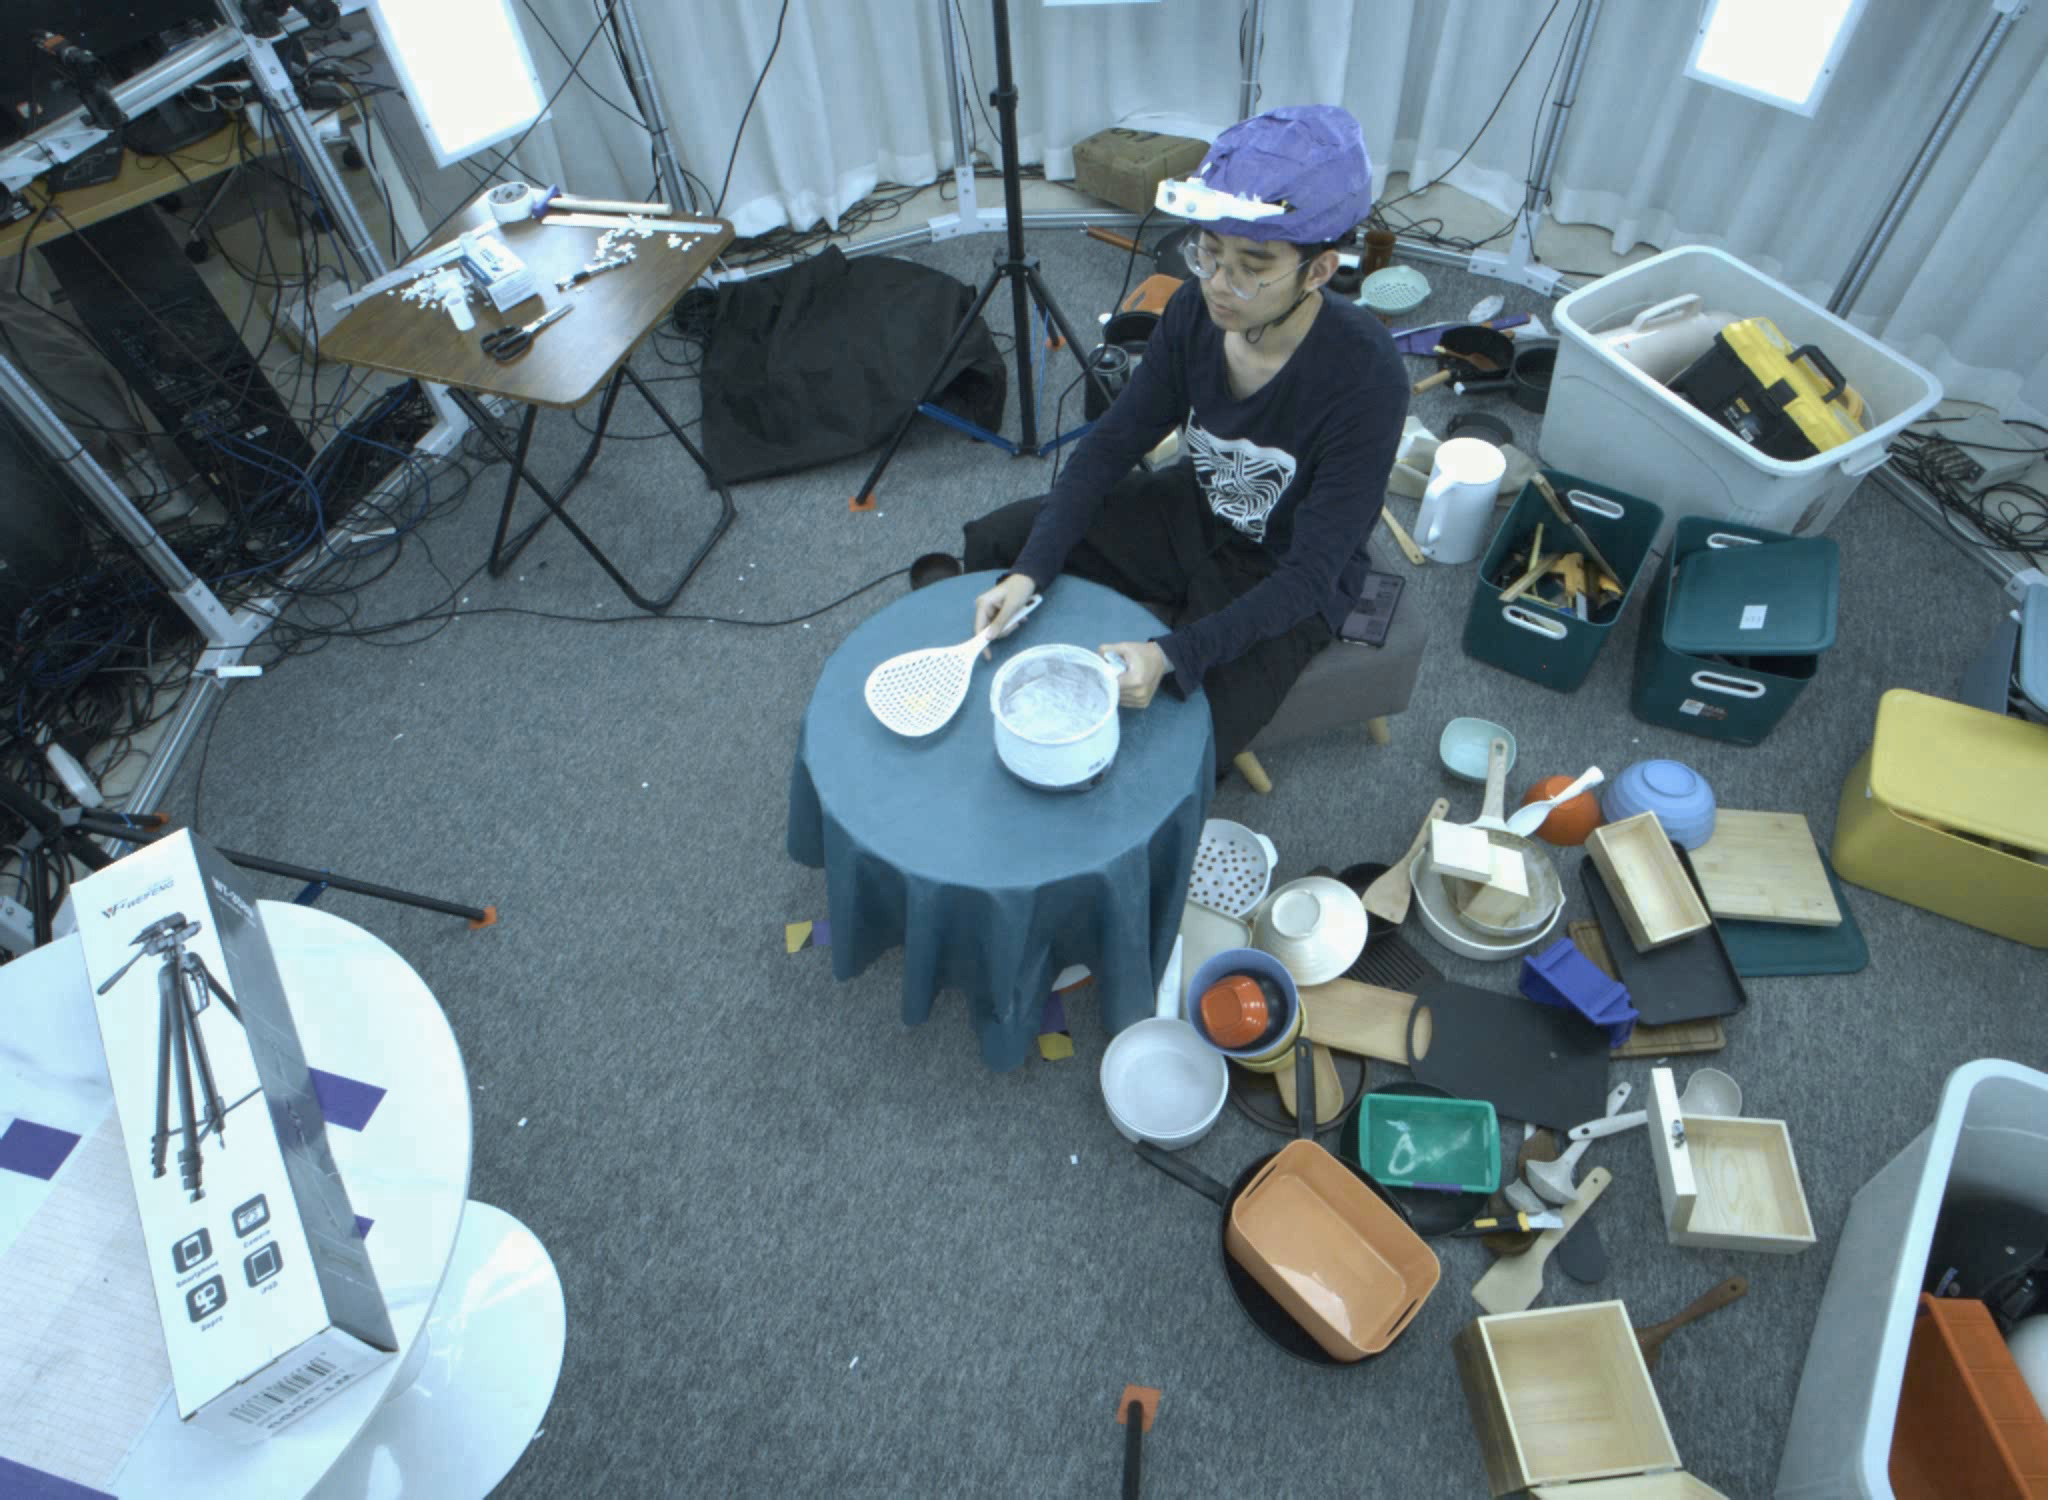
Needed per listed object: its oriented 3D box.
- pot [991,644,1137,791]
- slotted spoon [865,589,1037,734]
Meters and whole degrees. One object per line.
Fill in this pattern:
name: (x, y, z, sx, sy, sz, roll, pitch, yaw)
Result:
pot: (0.066, -0.057, 1.749, 0.235, 0.138, 0.175, -36, 63, -21)
slotted spoon: (-0.093, -0.147, 1.869, 0.135, 0.050, 0.350, 41, 67, 12)
